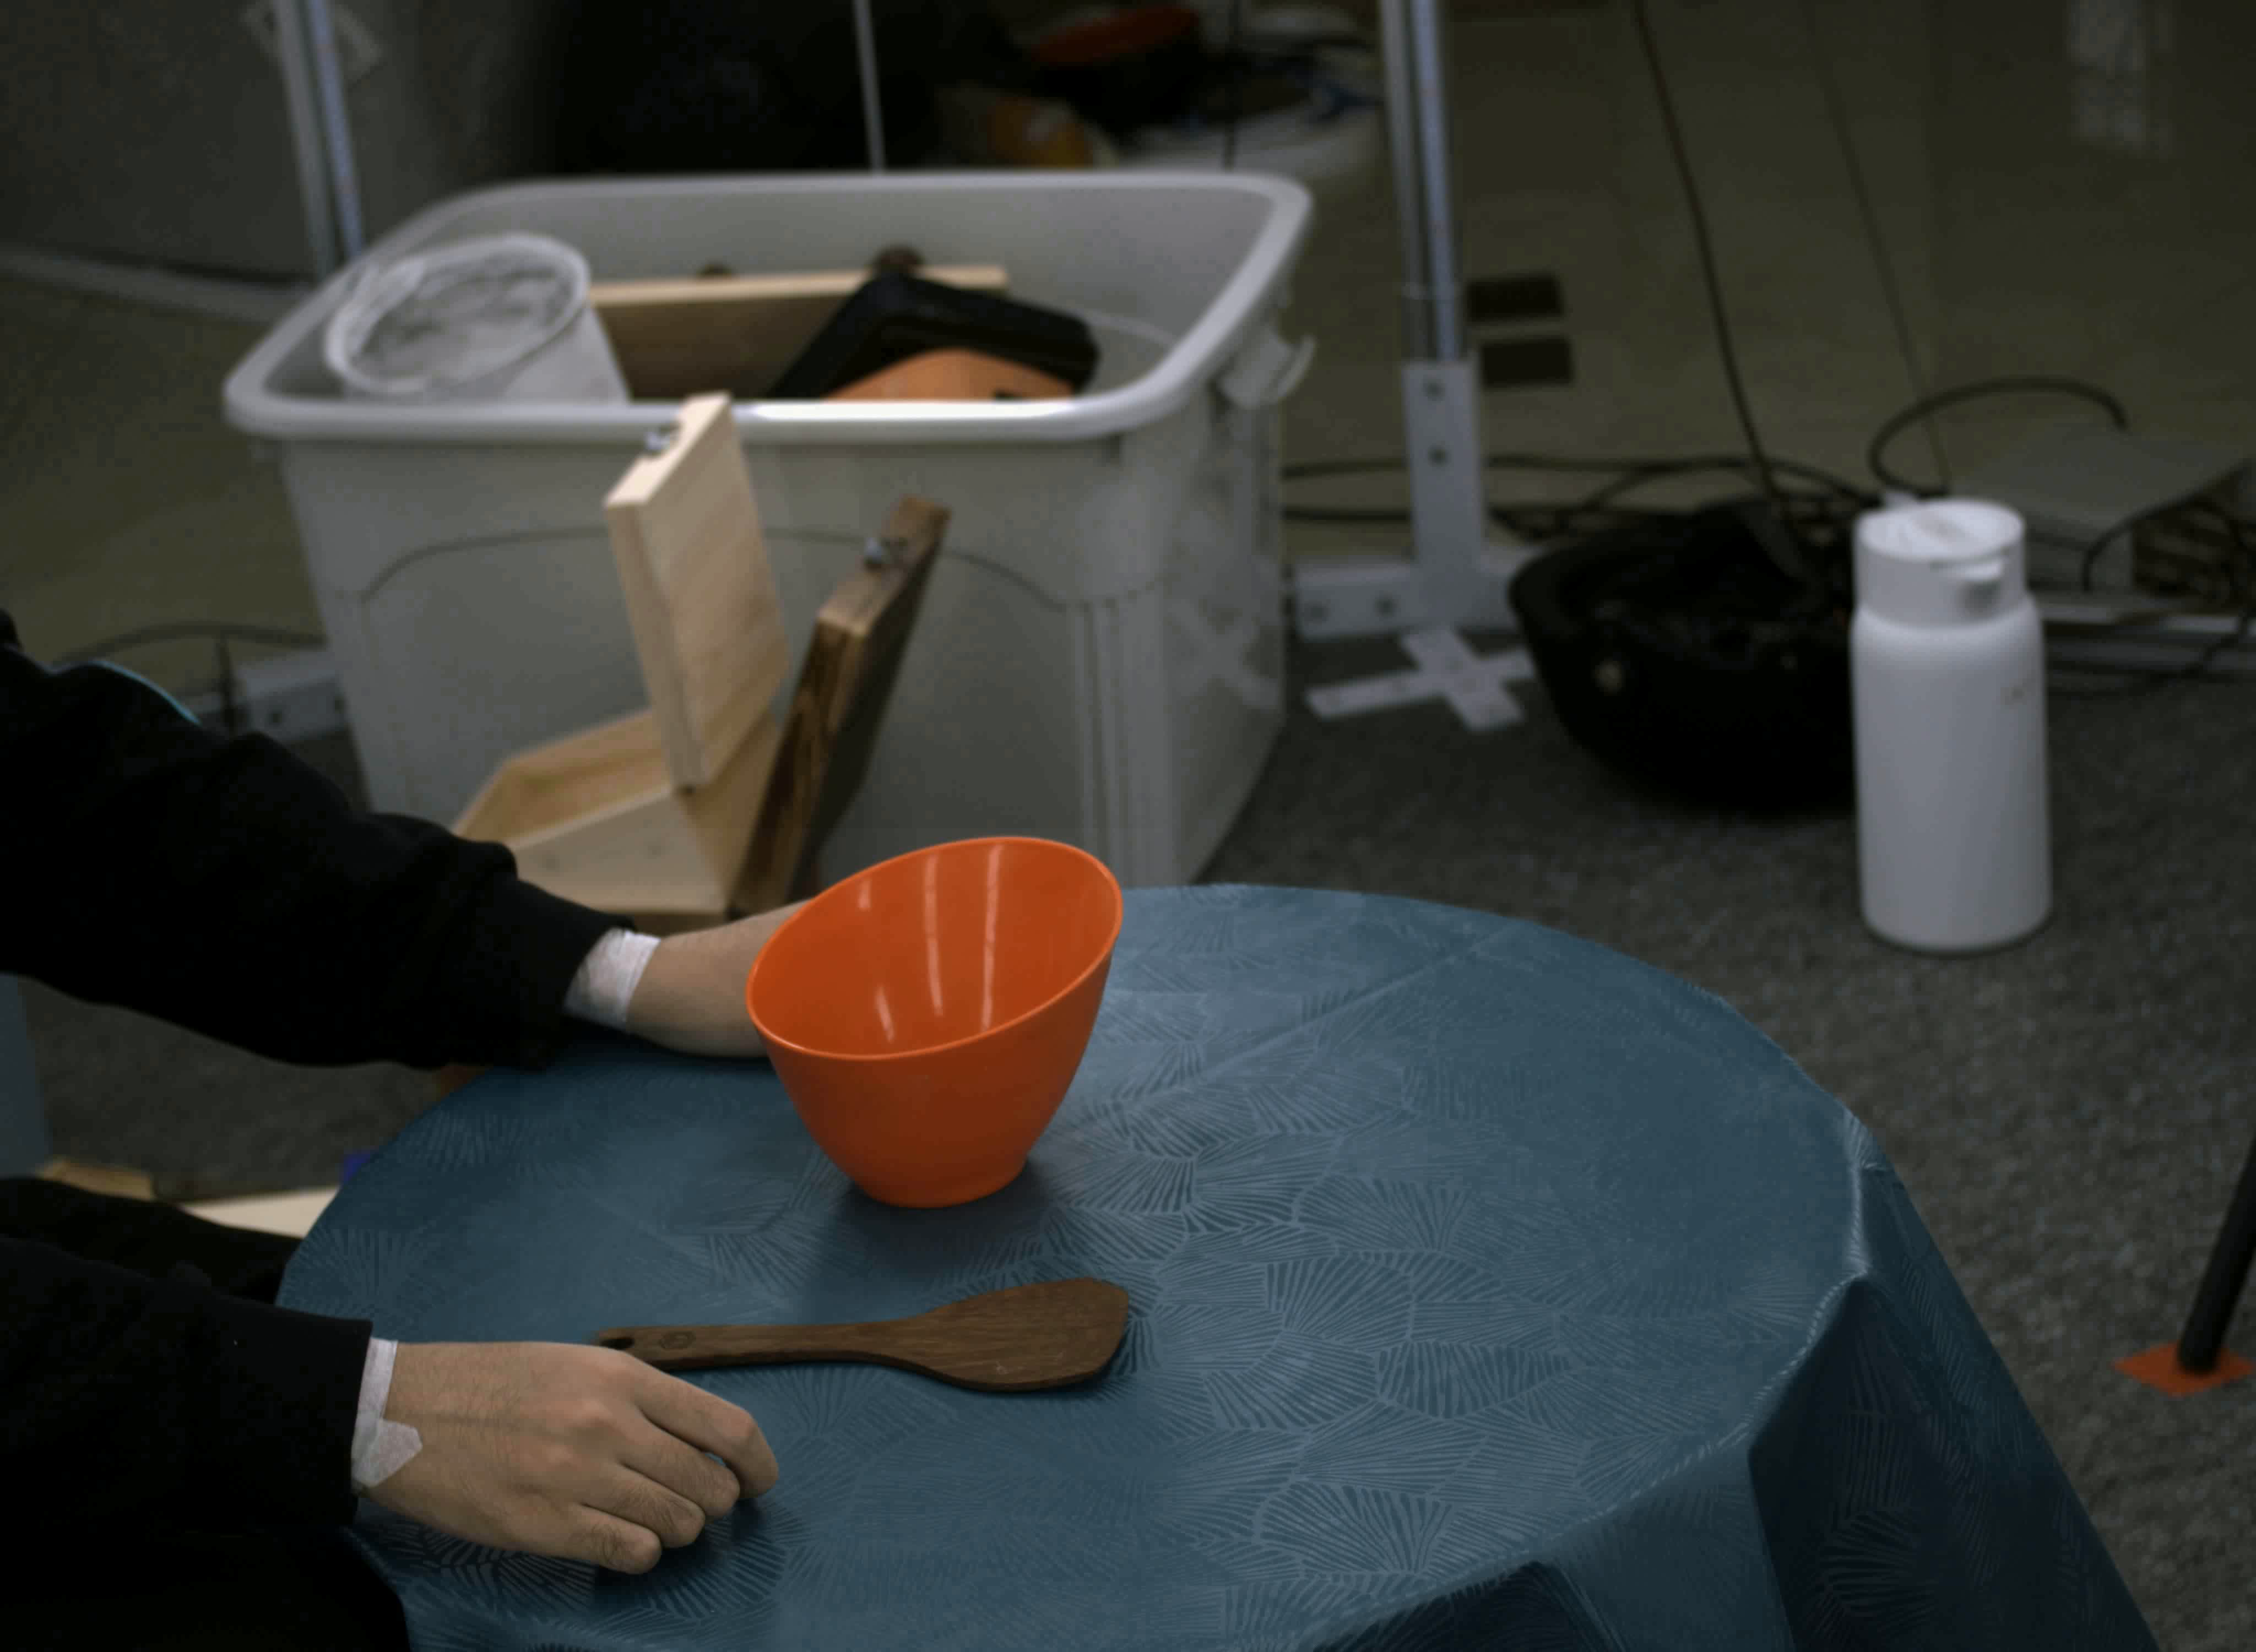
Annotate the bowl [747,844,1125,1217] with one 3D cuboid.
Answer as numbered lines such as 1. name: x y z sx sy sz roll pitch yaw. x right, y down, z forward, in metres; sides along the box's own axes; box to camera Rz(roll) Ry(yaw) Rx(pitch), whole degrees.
1. bowl: -0.068 0.085 2.168 0.148 0.106 0.146 -6 26 3

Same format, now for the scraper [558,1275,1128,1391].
1. scraper: -0.104 0.188 2.064 0.211 0.011 0.075 -3 23 9
